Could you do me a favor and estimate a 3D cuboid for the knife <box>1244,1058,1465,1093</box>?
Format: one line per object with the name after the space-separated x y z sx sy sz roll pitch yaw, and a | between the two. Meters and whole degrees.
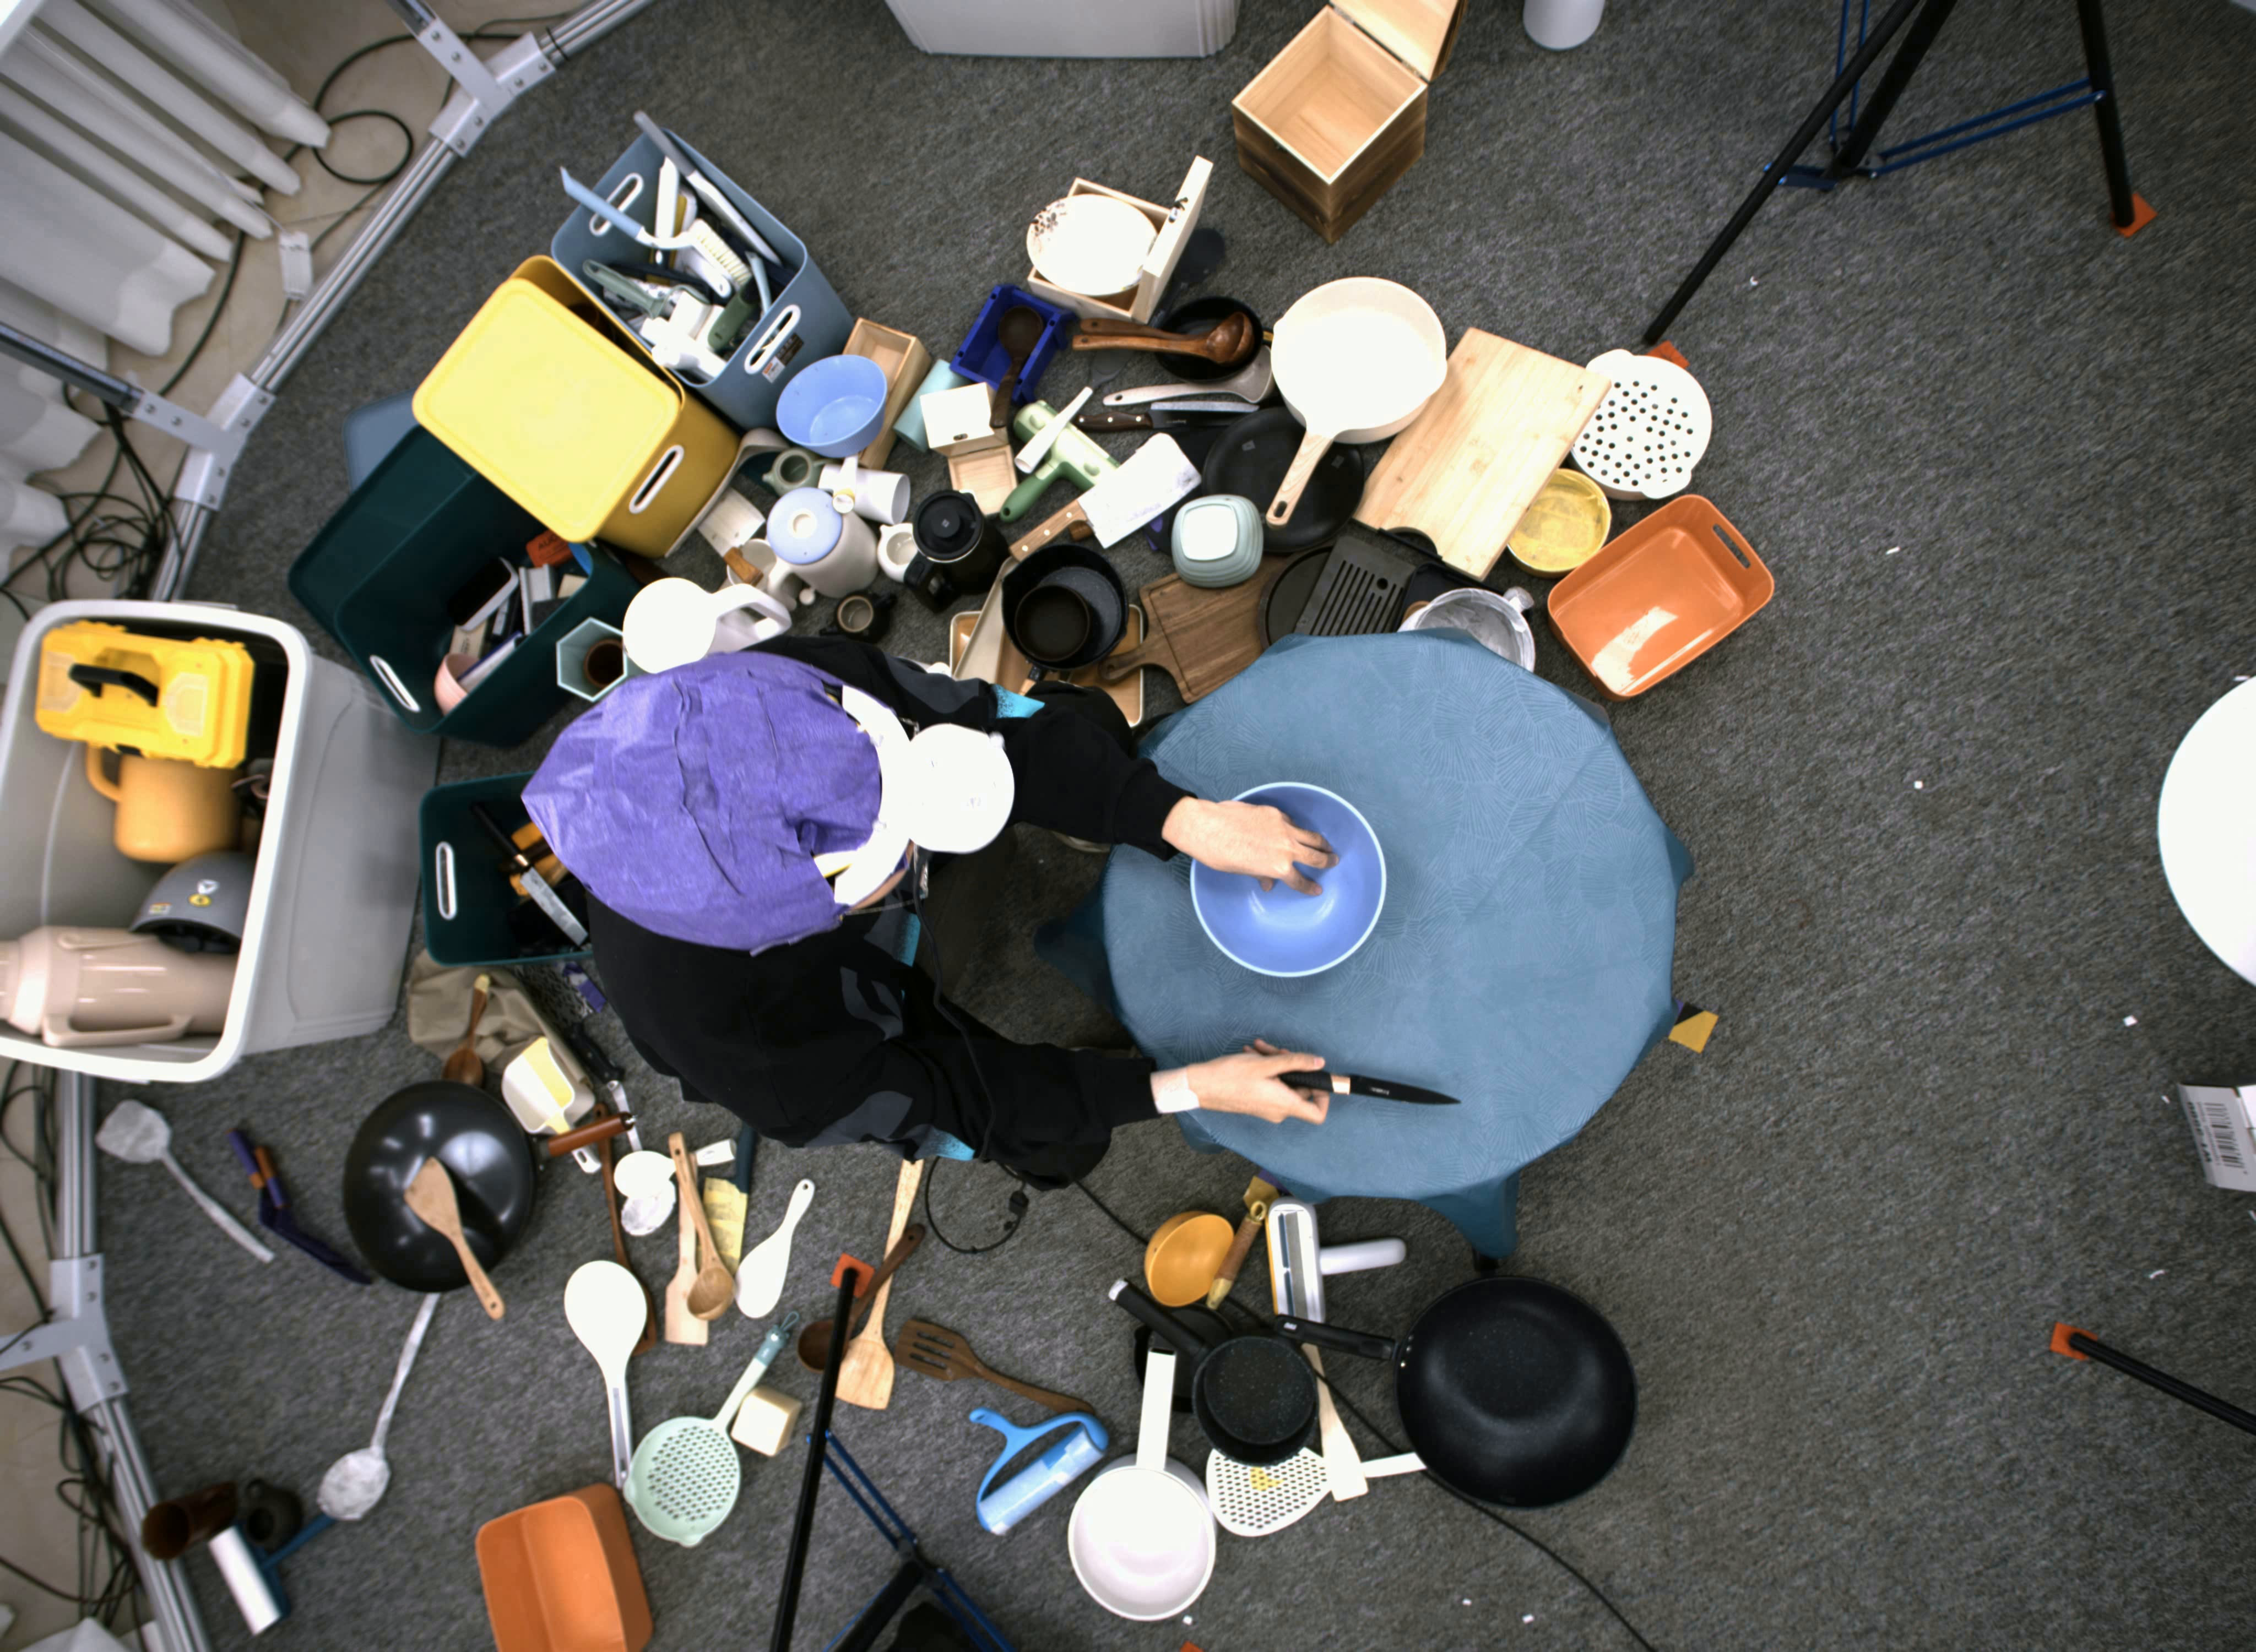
0.232 0.258 1.420 0.226 0.017 0.025 5 59 9 | knife

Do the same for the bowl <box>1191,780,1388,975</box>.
0.166 0.056 1.429 0.197 0.095 0.195 -1 85 7 | bowl
